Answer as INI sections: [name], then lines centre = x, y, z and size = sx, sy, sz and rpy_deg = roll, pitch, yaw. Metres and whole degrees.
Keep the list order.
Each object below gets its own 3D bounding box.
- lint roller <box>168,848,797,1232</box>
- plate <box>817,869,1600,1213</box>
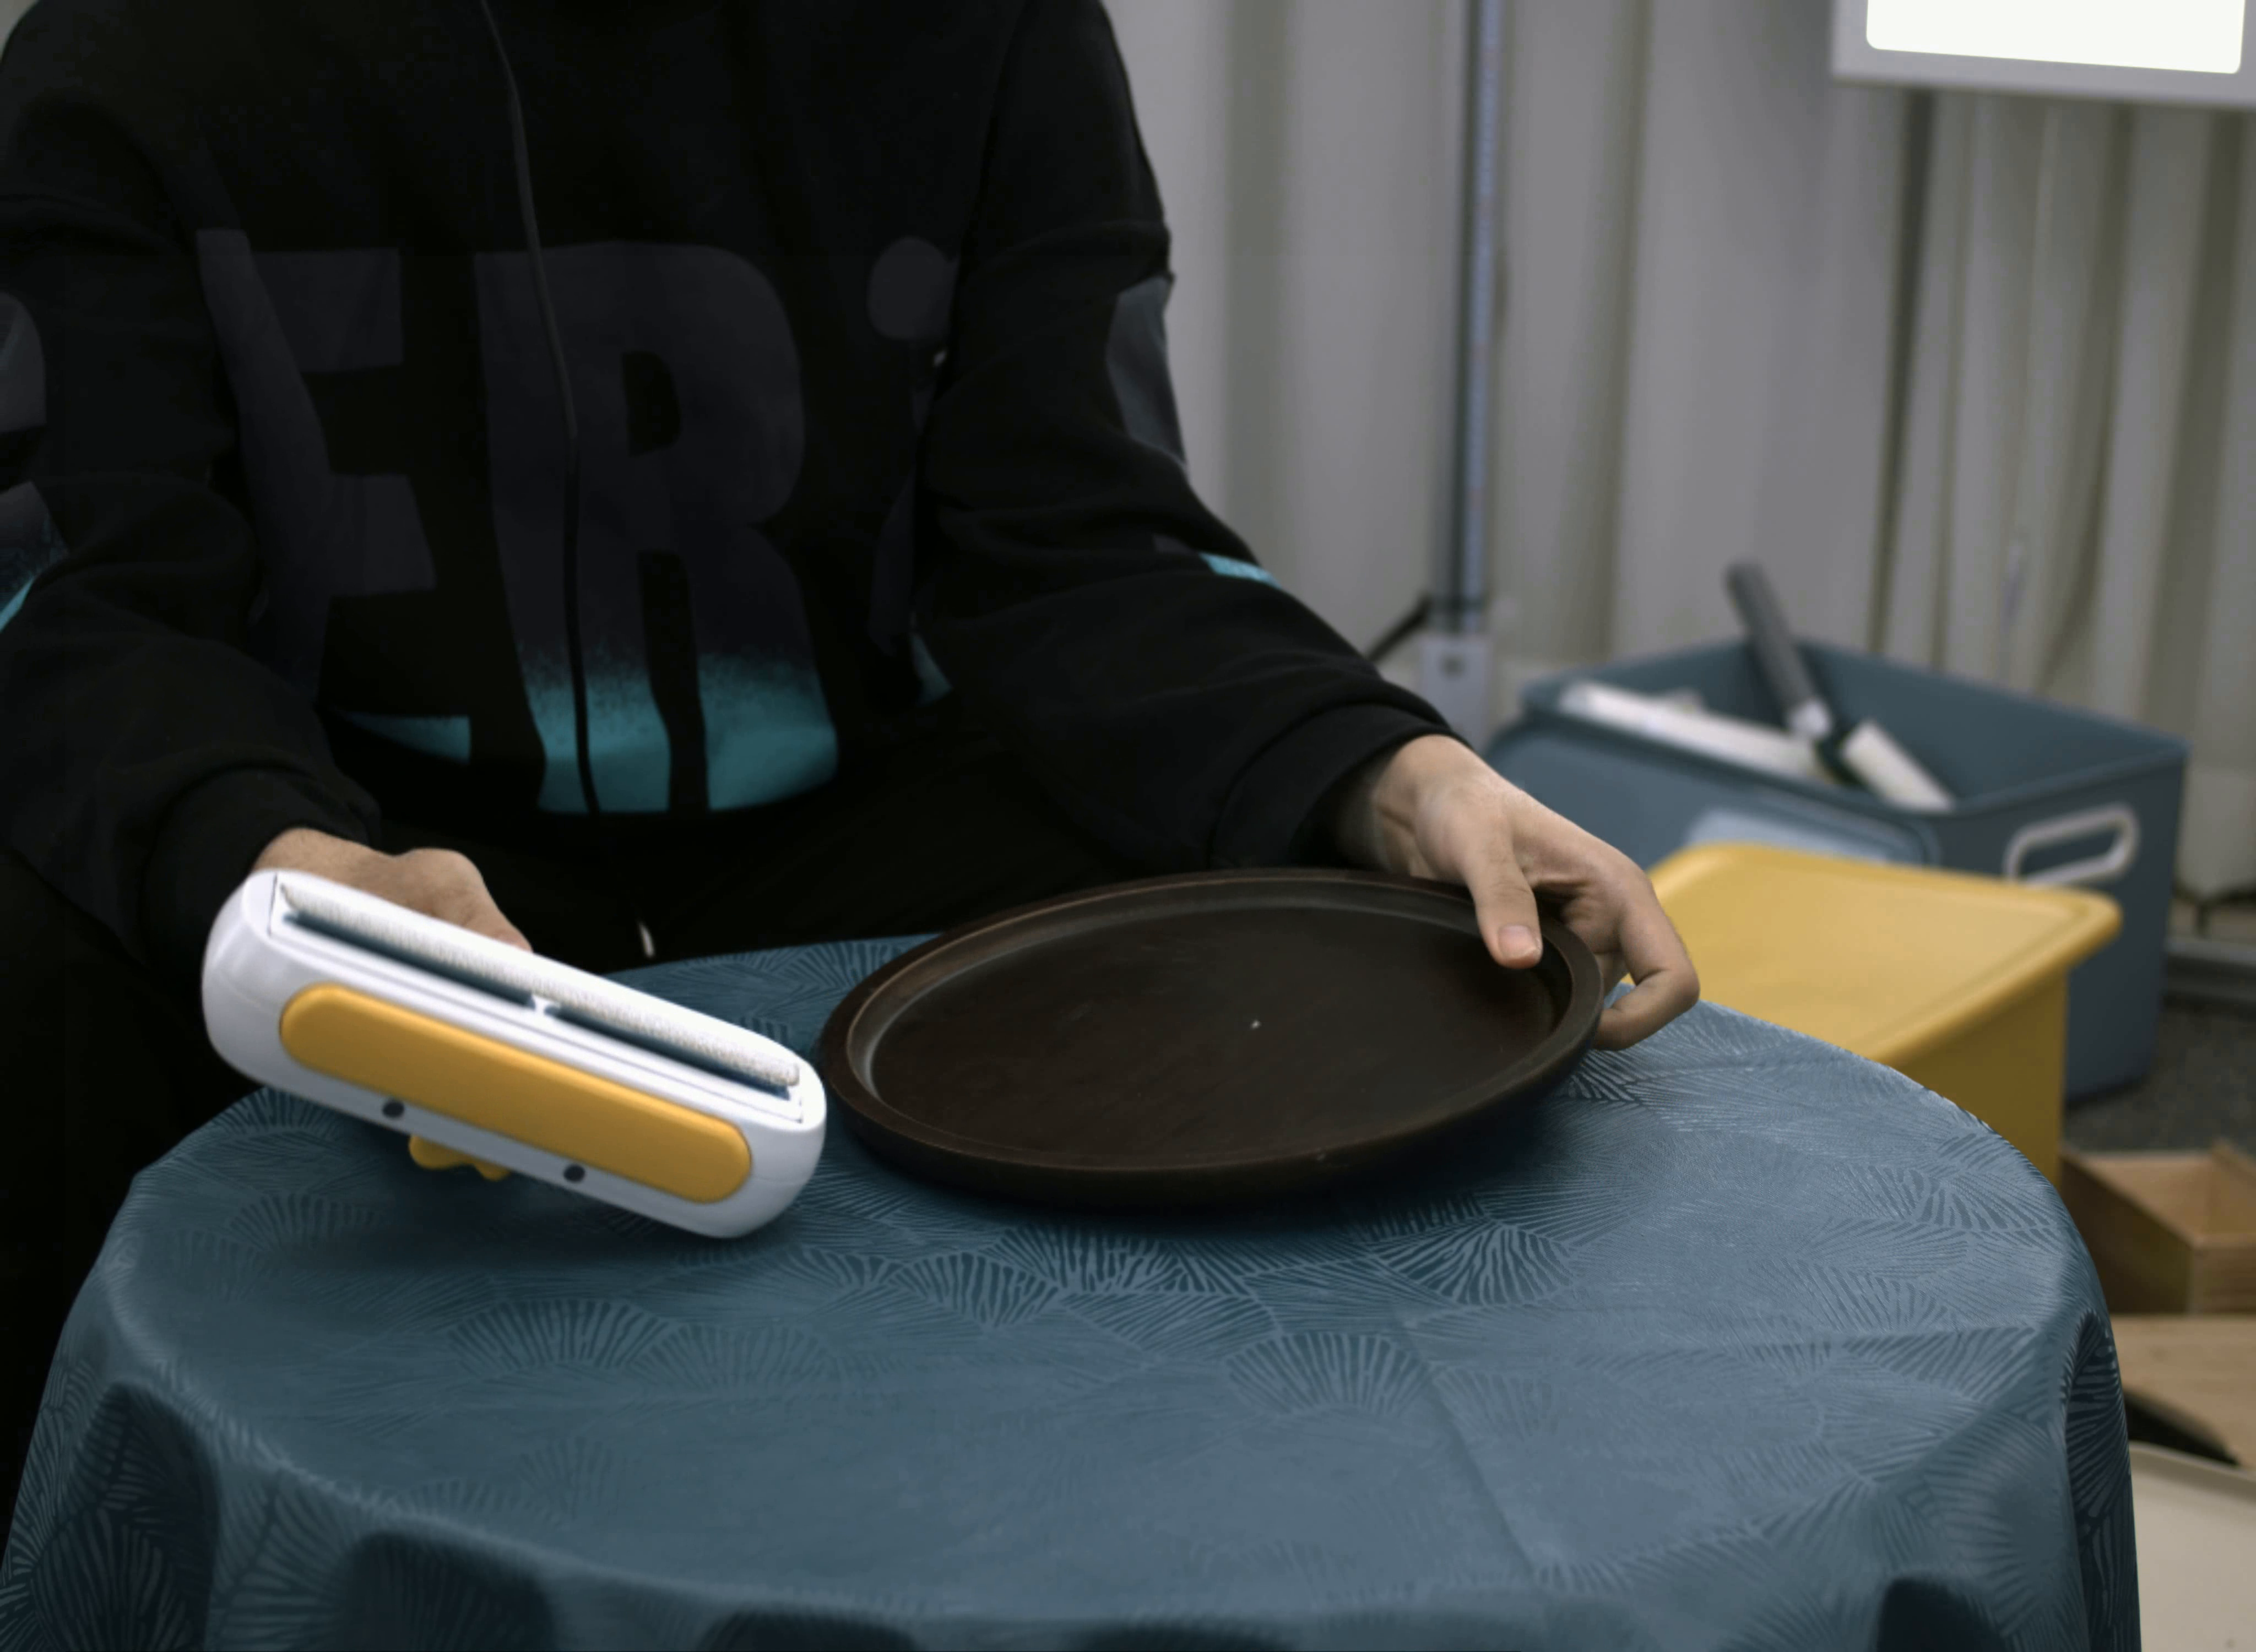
[lint roller]
centre = -0.198, 0.056, 1.617
size = 0.193, 0.074, 0.191
rpy_deg = 18, 12, -10
[plate]
centre = 0.026, 0.067, 1.691
size = 0.254, 0.029, 0.253
rpy_deg = -6, 18, 2
